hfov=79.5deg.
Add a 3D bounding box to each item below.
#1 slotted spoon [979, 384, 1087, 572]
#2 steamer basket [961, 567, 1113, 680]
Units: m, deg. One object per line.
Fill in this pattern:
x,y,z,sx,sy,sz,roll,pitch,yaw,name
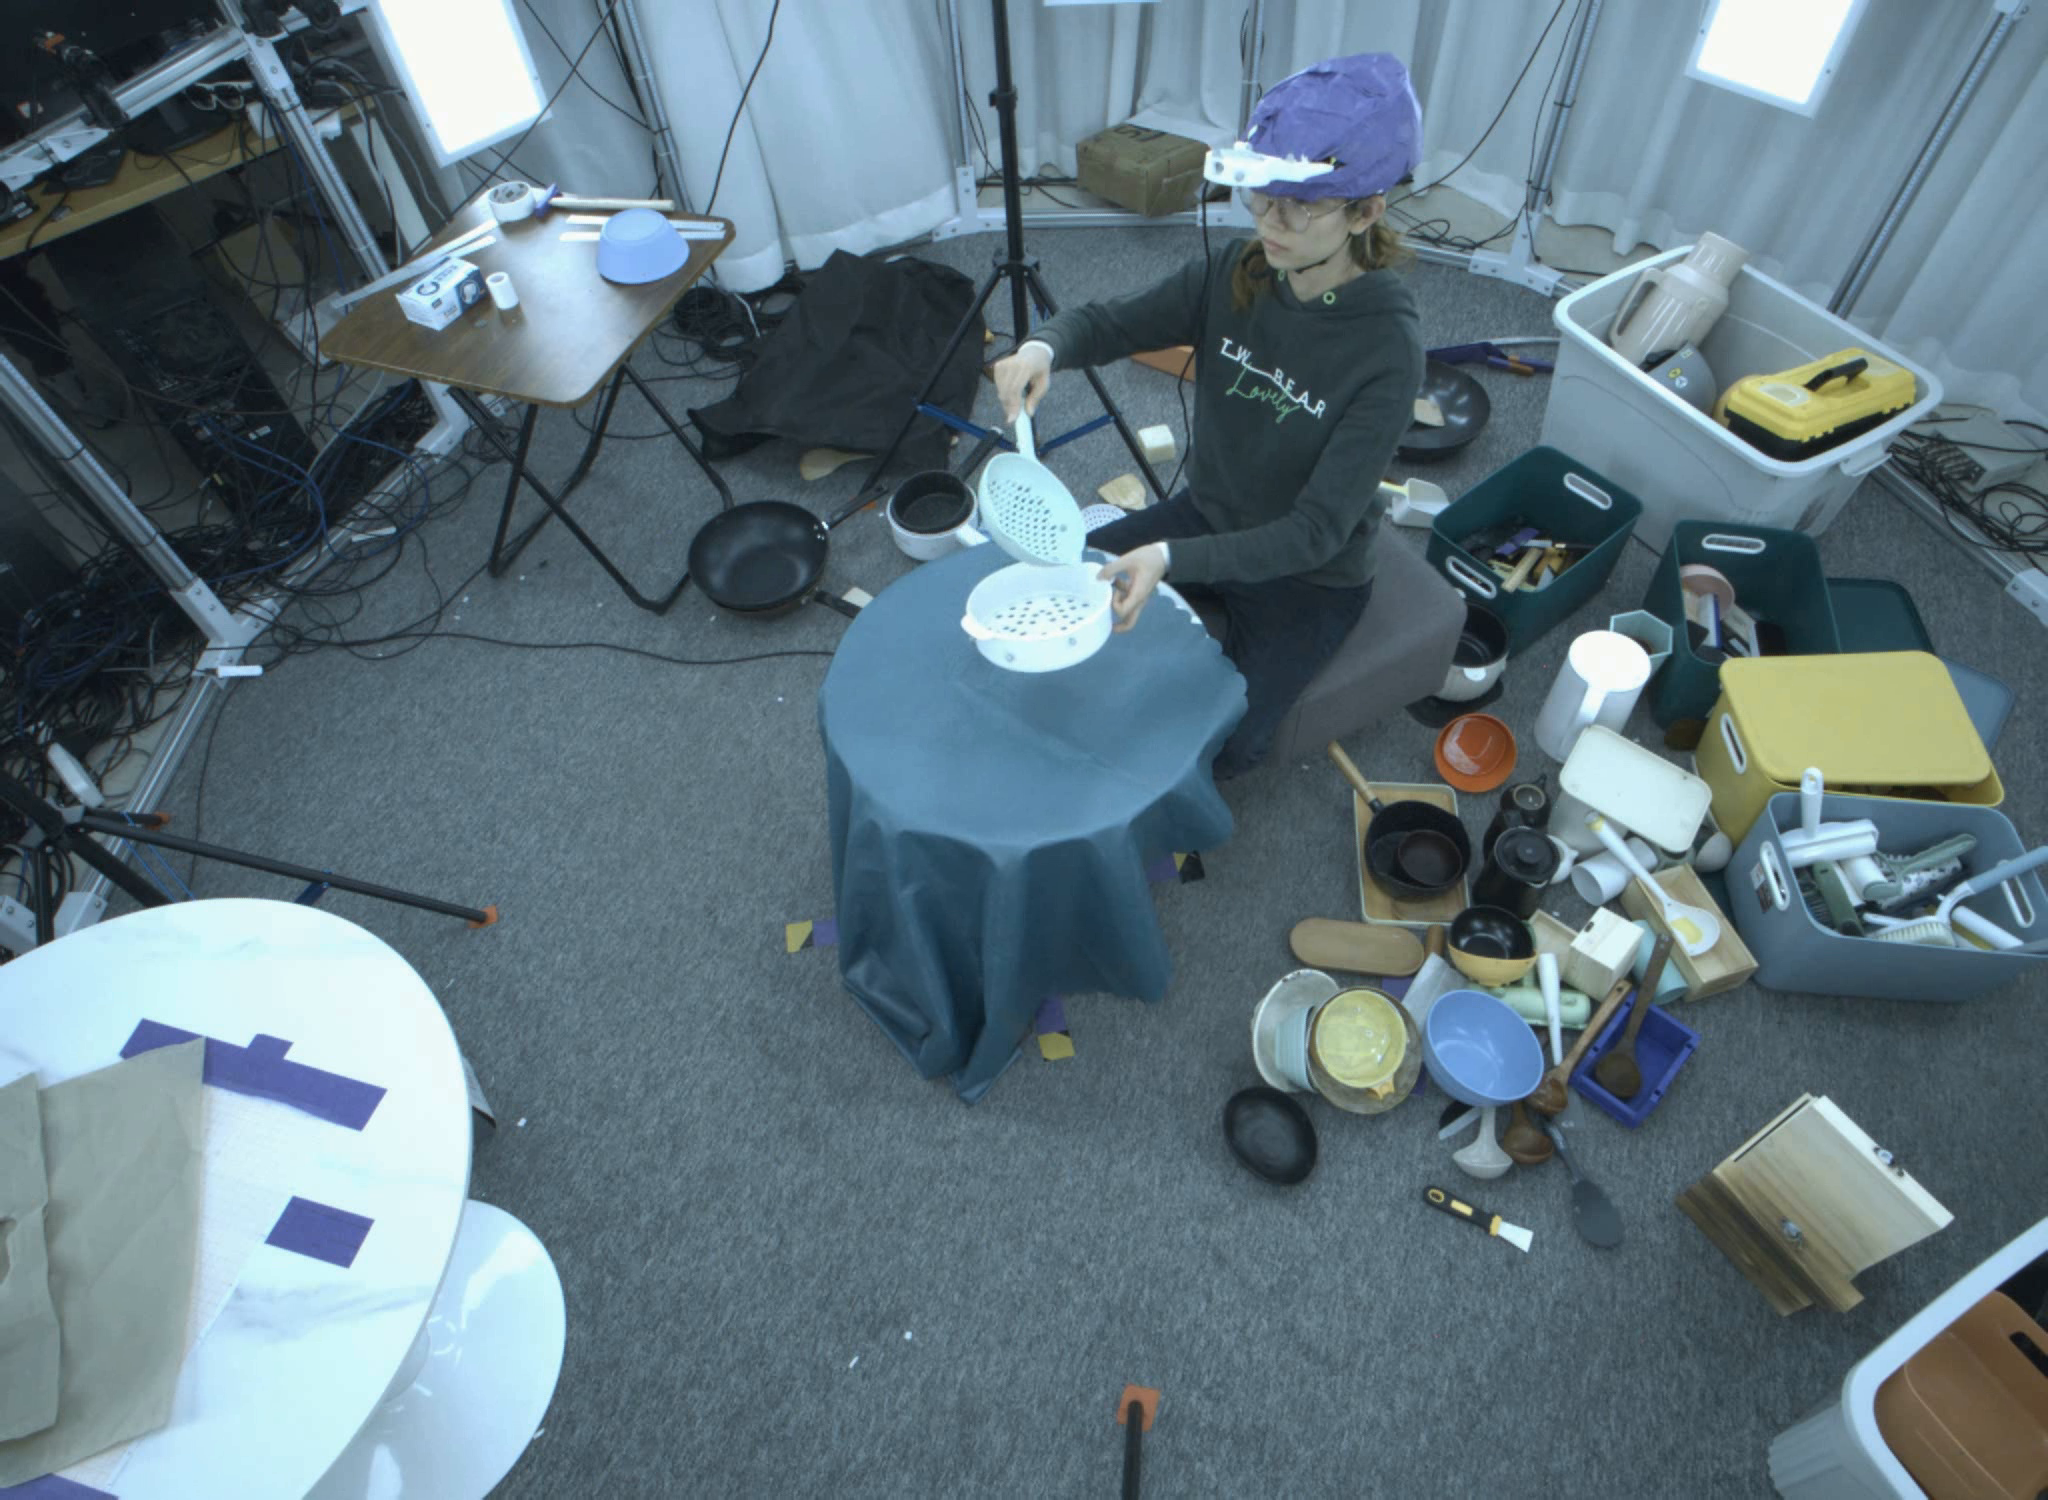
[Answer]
-0.001,-0.389,1.660,0.173,0.074,0.356,18,60,-37,slotted spoon
0.022,-0.178,1.714,0.233,0.070,0.197,-28,46,-22,steamer basket
